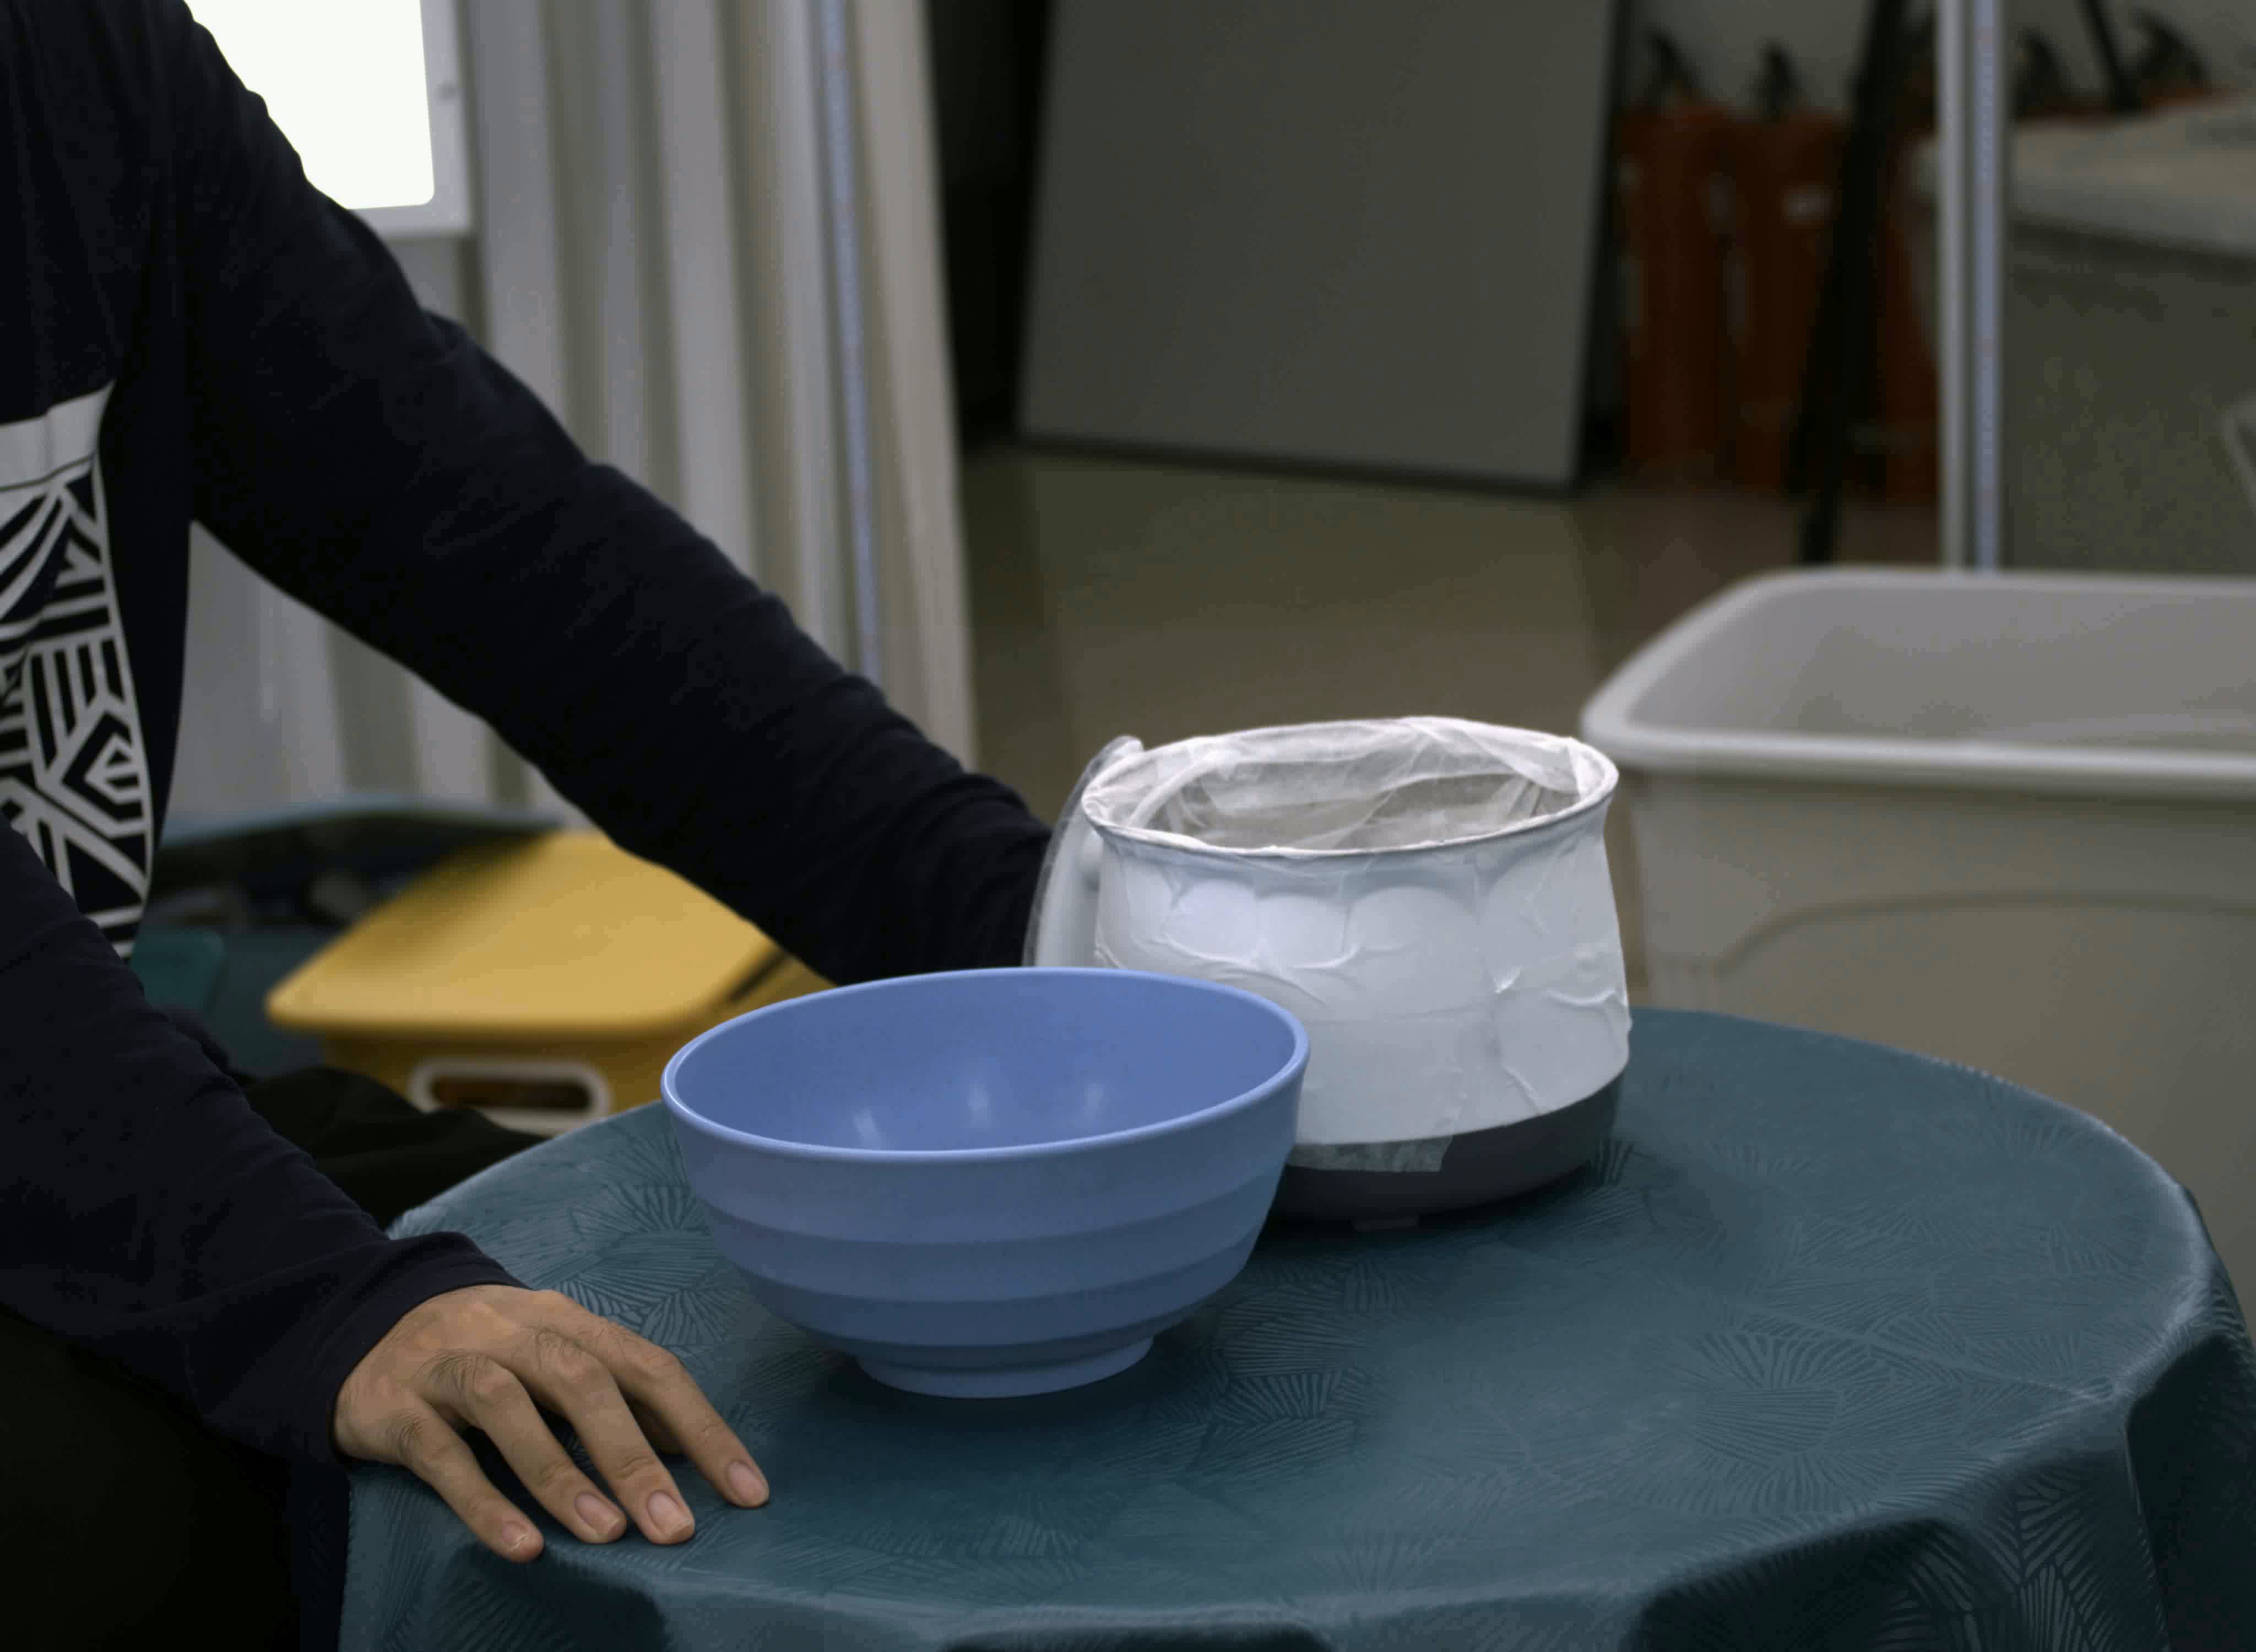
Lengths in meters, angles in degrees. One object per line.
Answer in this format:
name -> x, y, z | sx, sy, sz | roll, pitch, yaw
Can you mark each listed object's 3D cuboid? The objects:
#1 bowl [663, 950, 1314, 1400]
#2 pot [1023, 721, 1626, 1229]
bowl -> -0.039, 0.111, 1.620 | 0.194, 0.096, 0.197 | -3, 16, 0
pot -> 0.055, 0.043, 1.786 | 0.235, 0.138, 0.175 | 9, 15, 41
